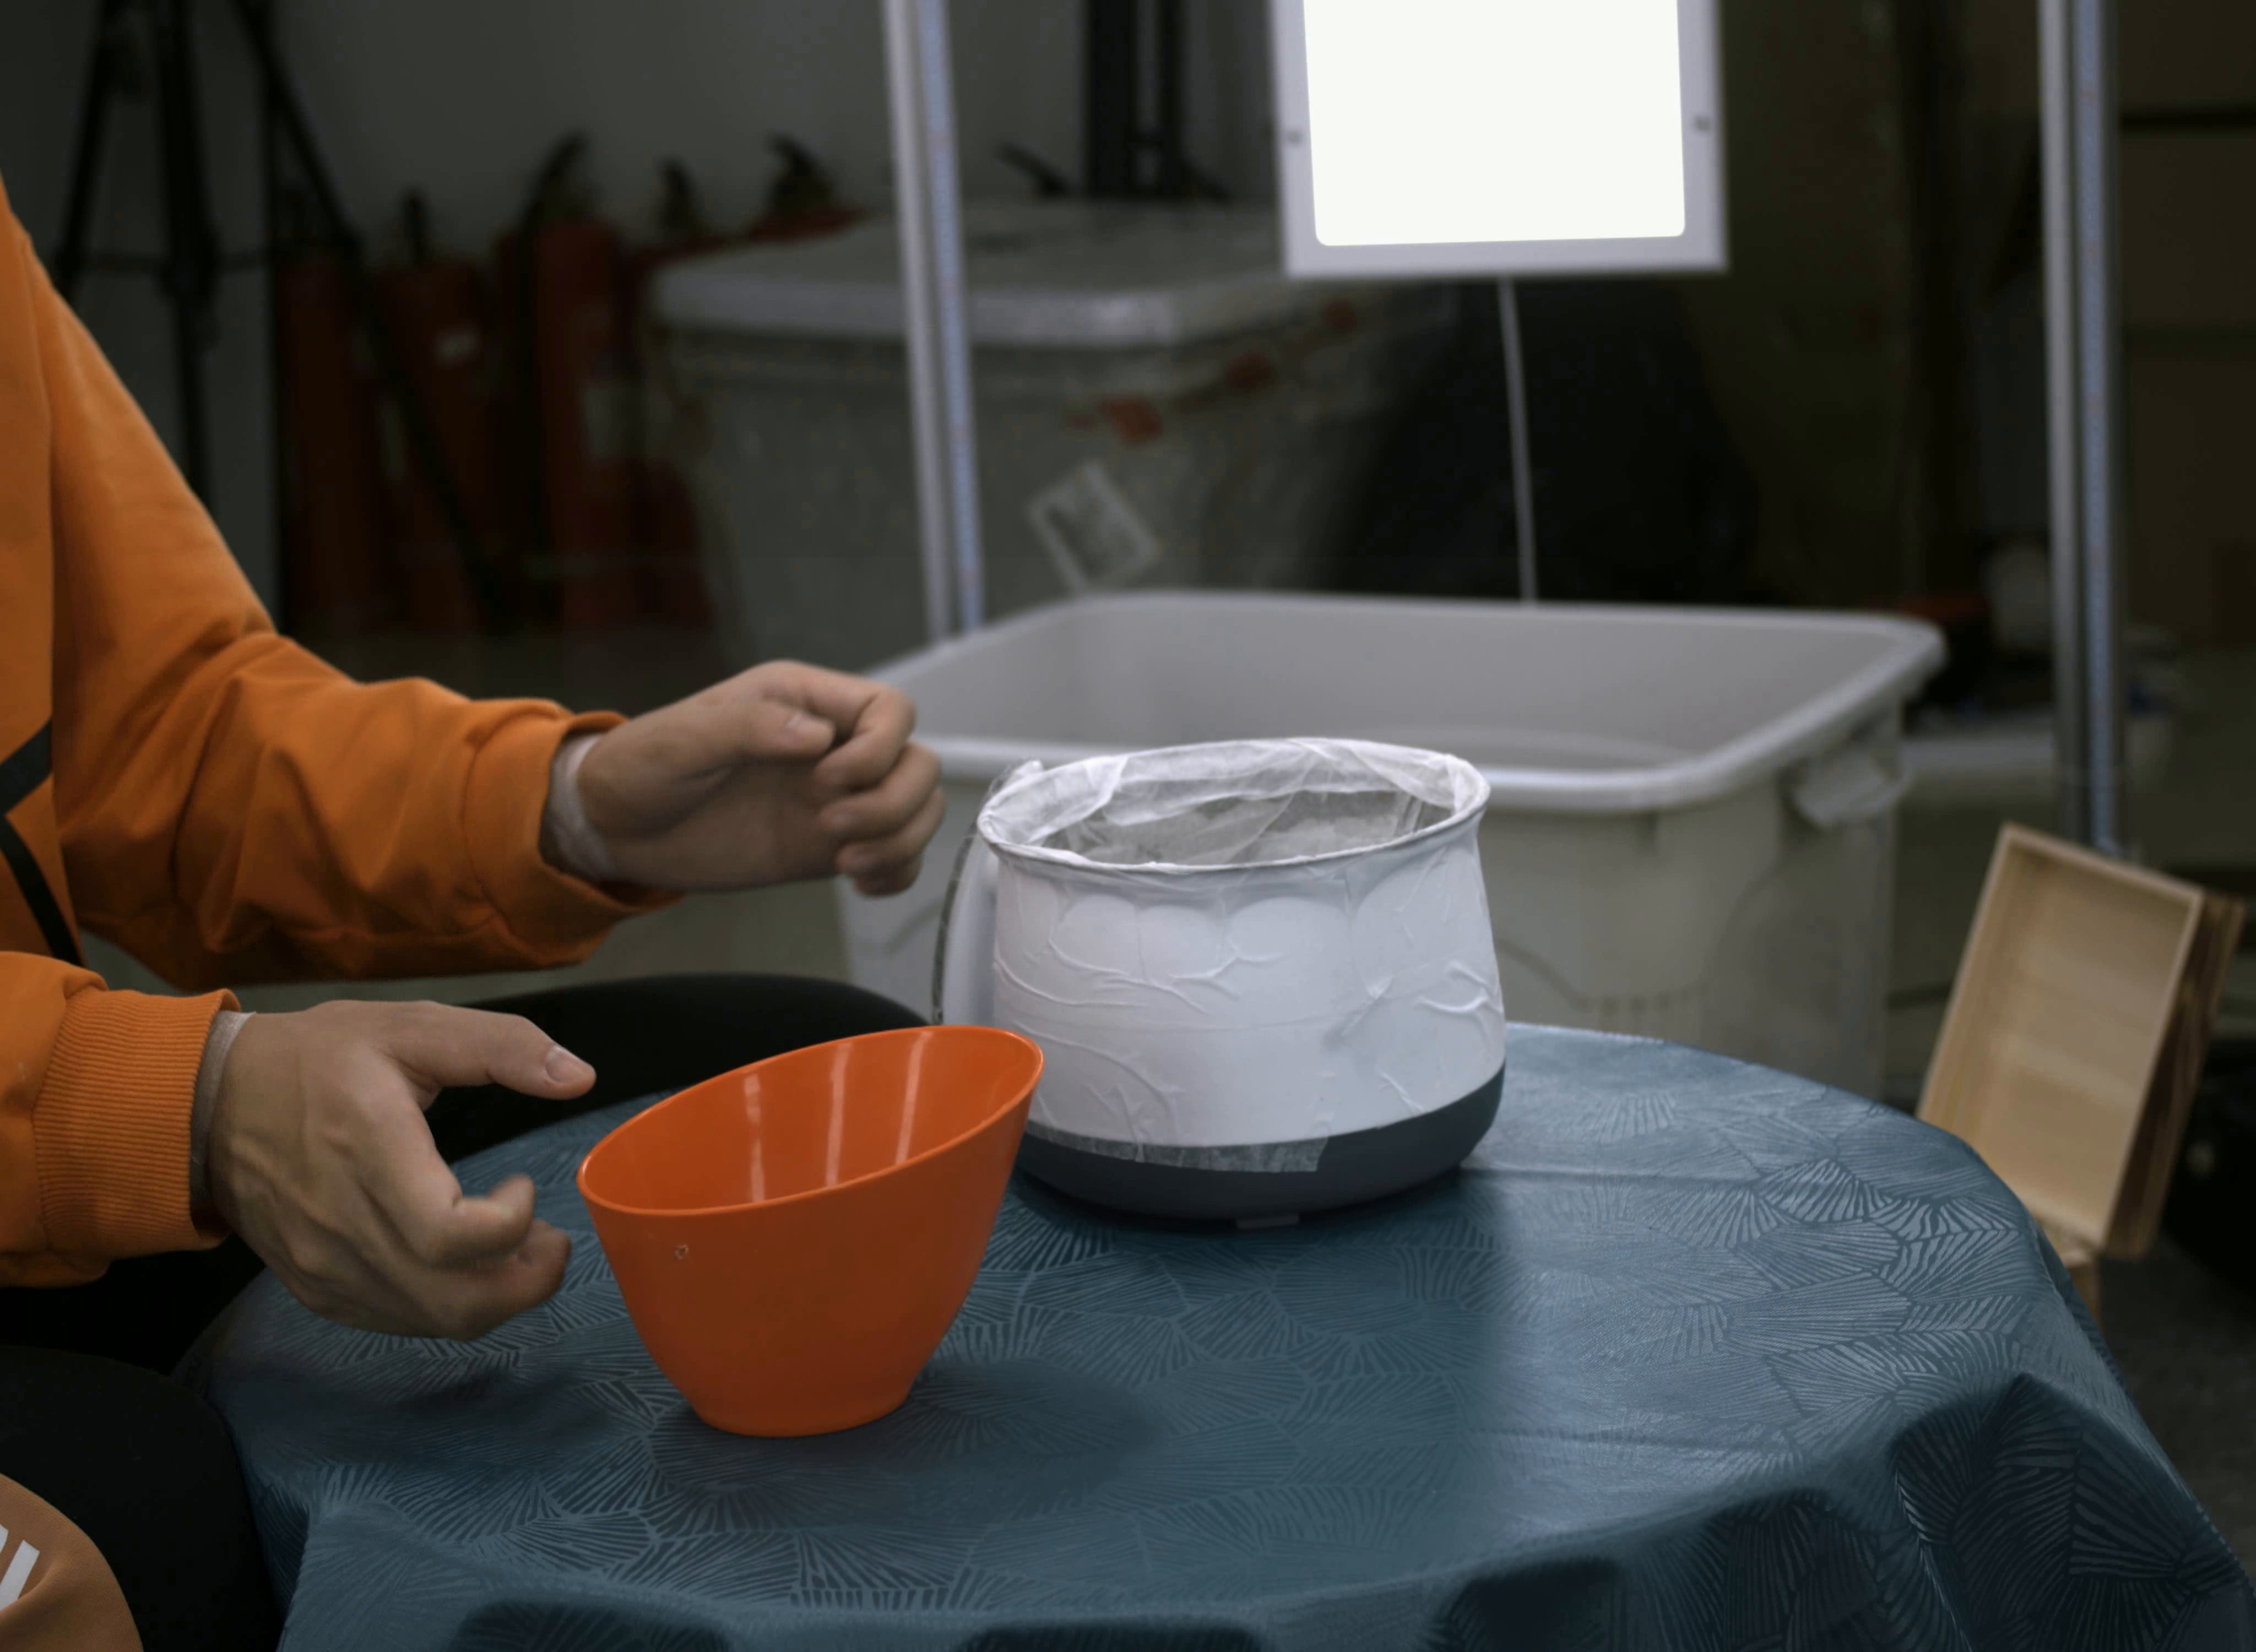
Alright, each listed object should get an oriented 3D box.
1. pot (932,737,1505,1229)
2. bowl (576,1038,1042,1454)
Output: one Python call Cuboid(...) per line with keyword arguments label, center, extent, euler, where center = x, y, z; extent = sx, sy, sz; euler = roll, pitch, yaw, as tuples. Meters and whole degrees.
Cuboid(label="pot", center=(0.020, 0.049, 1.915), extent=(0.239, 0.137, 0.174), euler=(8, 19, 42))
Cuboid(label="bowl", center=(-0.094, 0.133, 1.707), extent=(0.148, 0.105, 0.148), euler=(-7, 14, 0))
